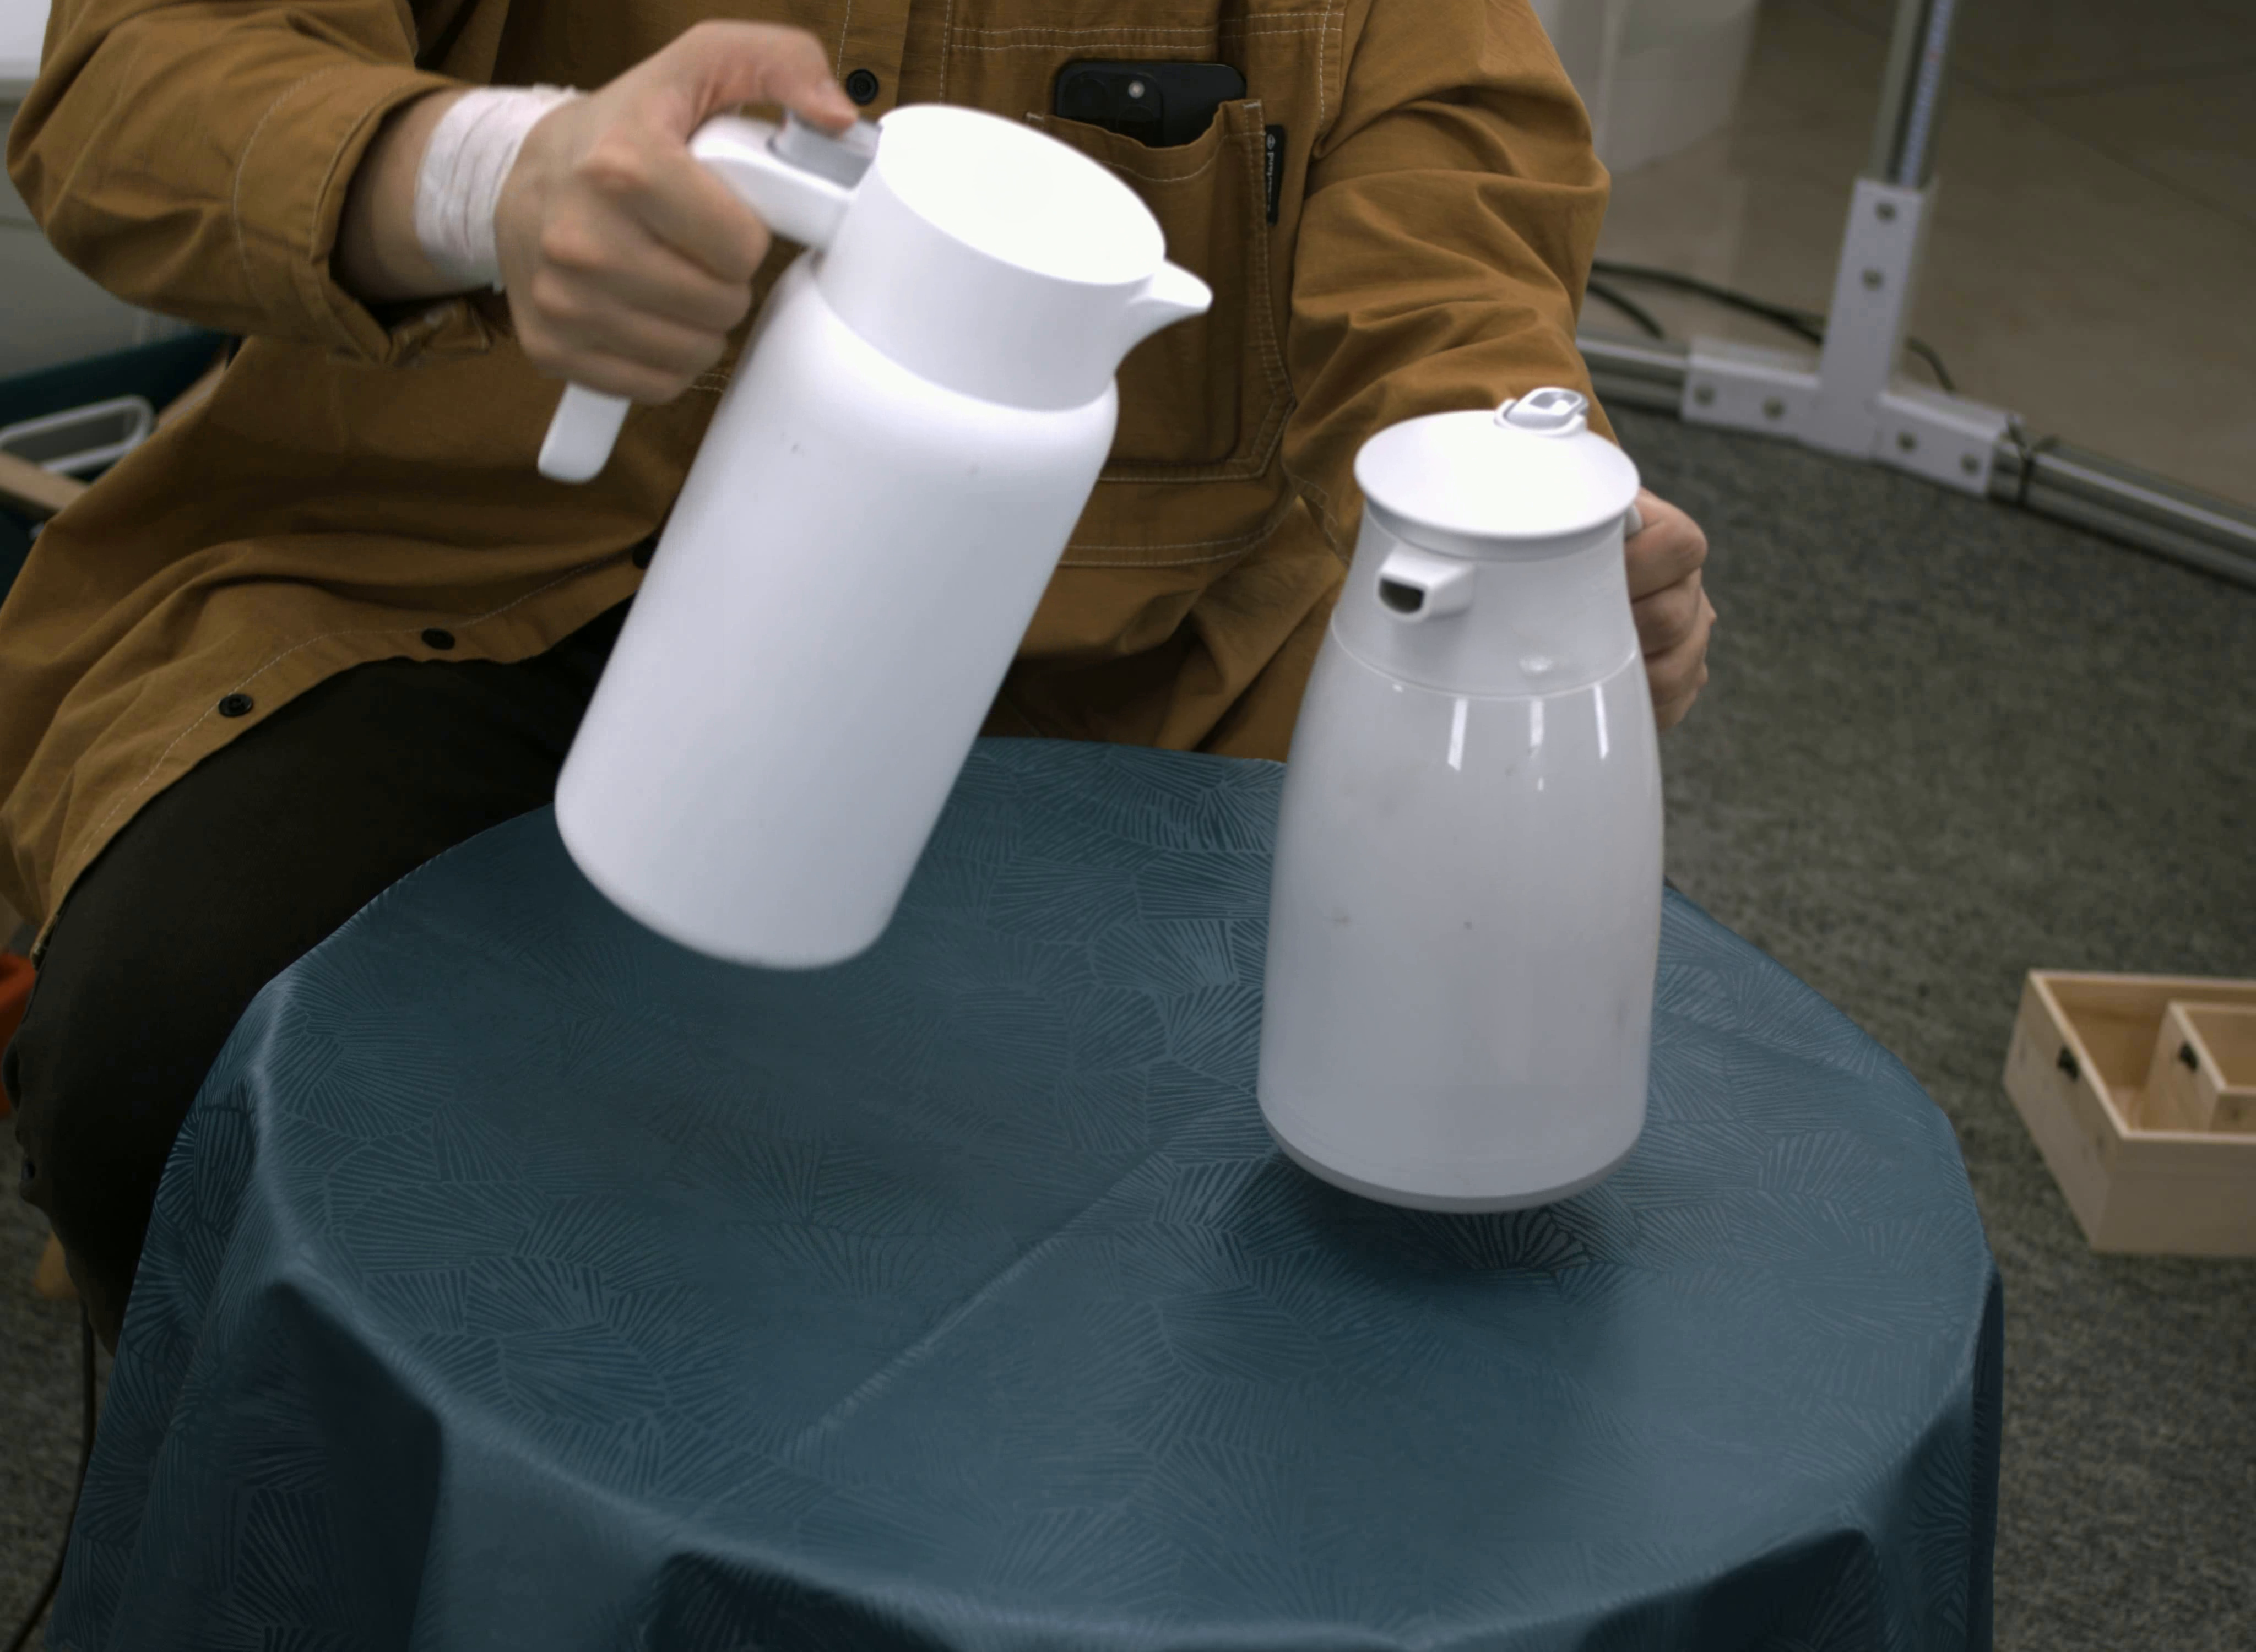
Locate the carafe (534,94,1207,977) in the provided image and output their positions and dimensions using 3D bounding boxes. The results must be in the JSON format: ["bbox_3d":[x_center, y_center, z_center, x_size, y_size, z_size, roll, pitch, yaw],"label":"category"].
[{"bbox_3d":[-0.102,-0.093,1.674,0.172,0.268,0.124,20,31,-8],"label":"carafe"}]

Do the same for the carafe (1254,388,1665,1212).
[{"bbox_3d":[0.122,-0.020,1.763,0.133,0.248,0.167,17,31,25],"label":"carafe"}]
